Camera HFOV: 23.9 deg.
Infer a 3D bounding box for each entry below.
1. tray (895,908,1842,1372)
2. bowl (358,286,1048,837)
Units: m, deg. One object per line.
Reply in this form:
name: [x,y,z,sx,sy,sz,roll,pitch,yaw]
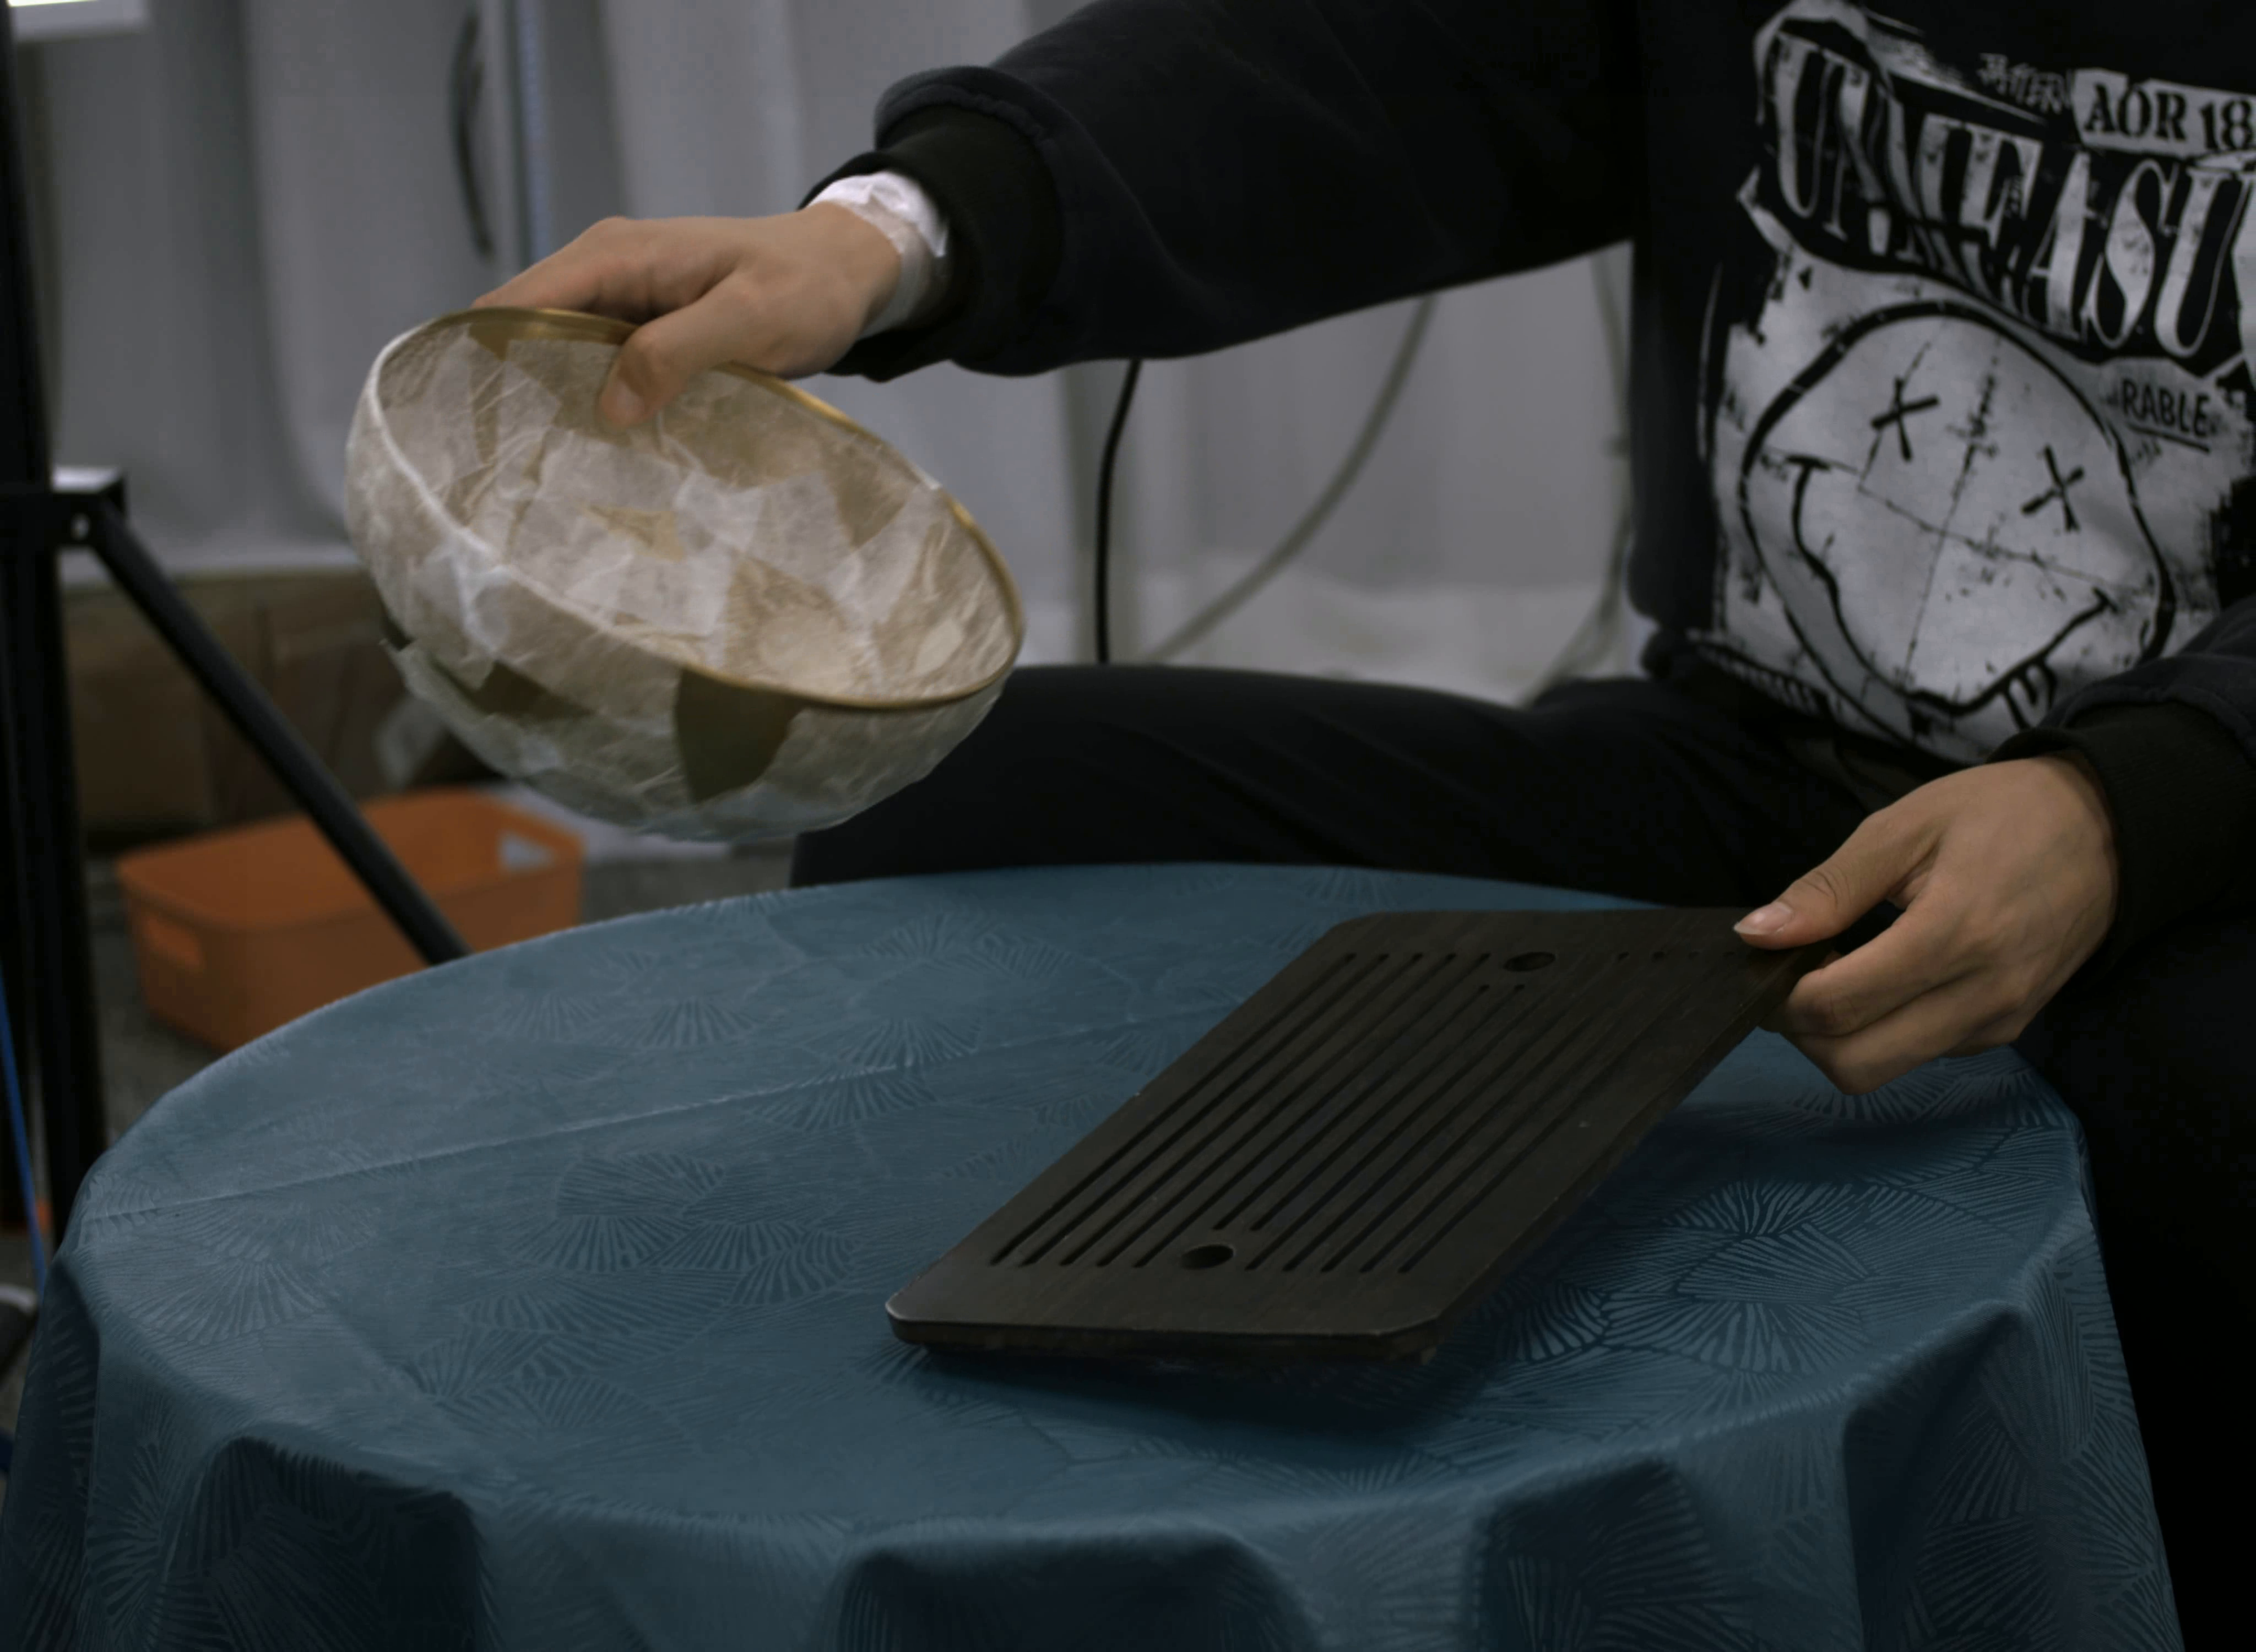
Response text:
tray: [0.076,0.086,1.507,0.173,0.018,0.301,-2,20,31]
bowl: [-0.131,-0.059,1.538,0.212,0.095,0.216,20,25,-11]
